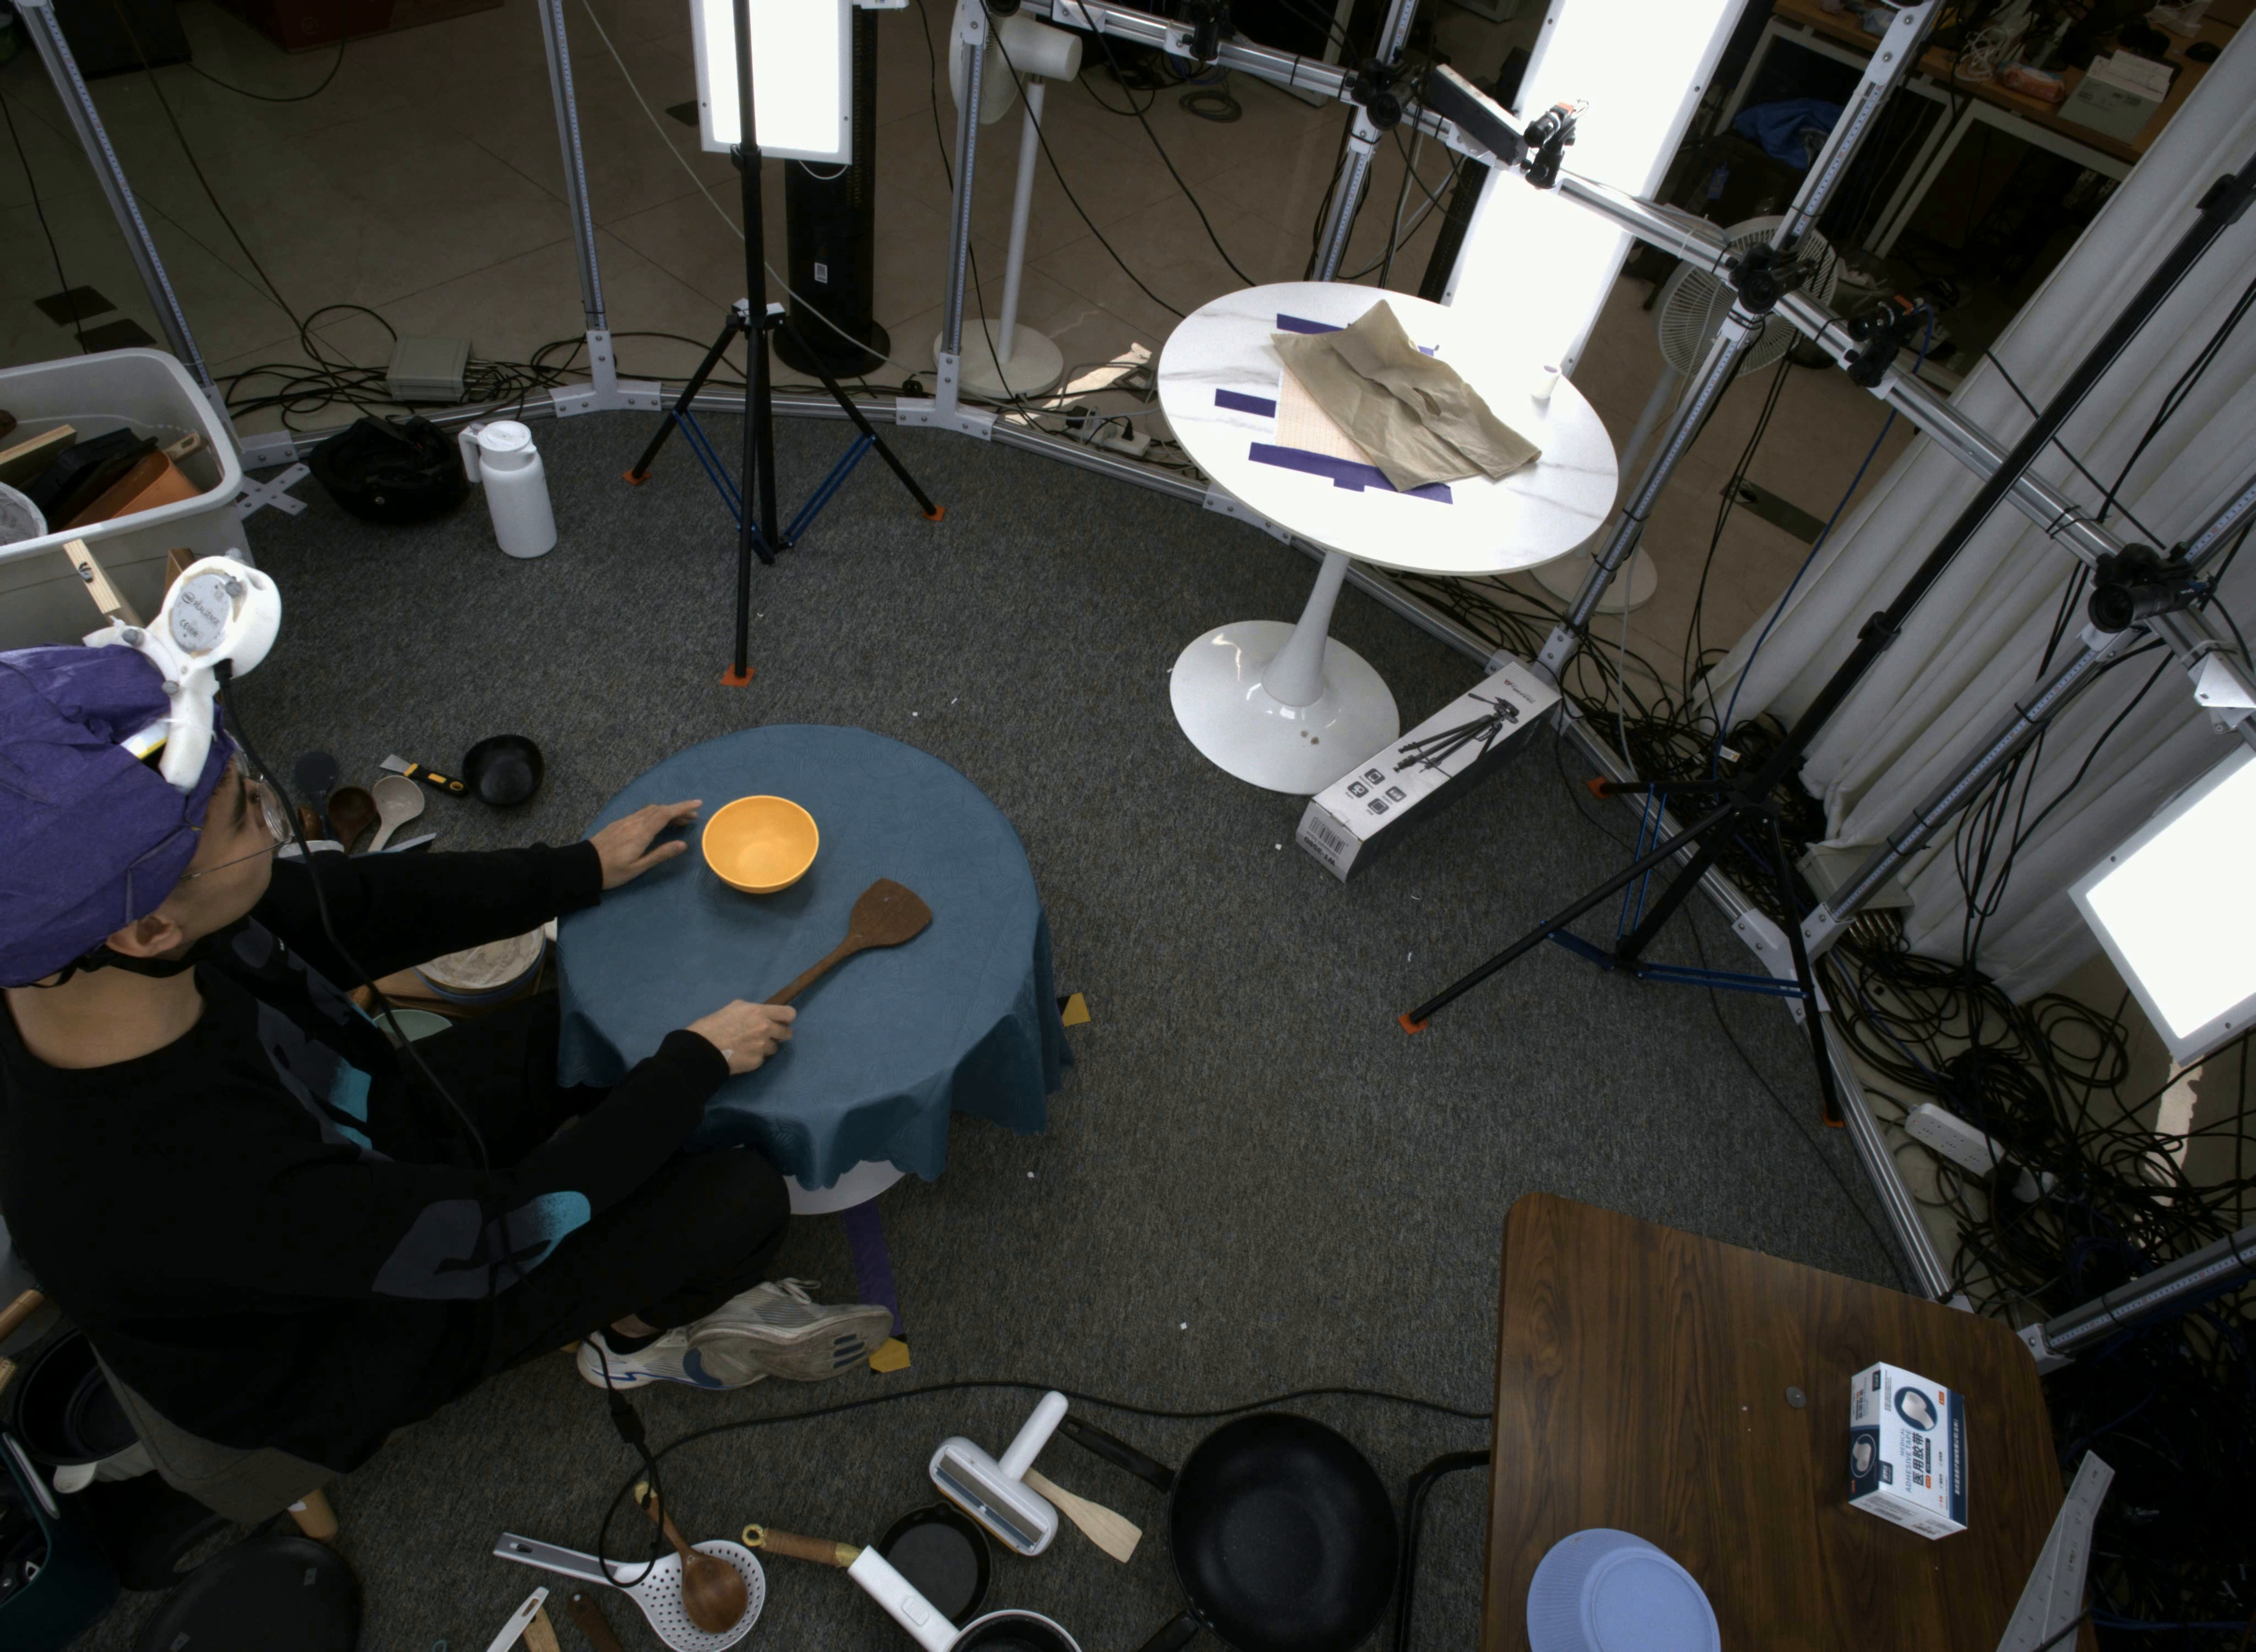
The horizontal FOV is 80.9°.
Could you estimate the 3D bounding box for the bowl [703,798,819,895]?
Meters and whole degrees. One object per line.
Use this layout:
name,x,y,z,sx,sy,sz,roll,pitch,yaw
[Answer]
bowl,-0.466,0.036,1.656,0.144,0.061,0.142,6,51,-6

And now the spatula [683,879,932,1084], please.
spatula,-0.389,0.185,1.575,0.094,0.016,0.386,36,47,14
